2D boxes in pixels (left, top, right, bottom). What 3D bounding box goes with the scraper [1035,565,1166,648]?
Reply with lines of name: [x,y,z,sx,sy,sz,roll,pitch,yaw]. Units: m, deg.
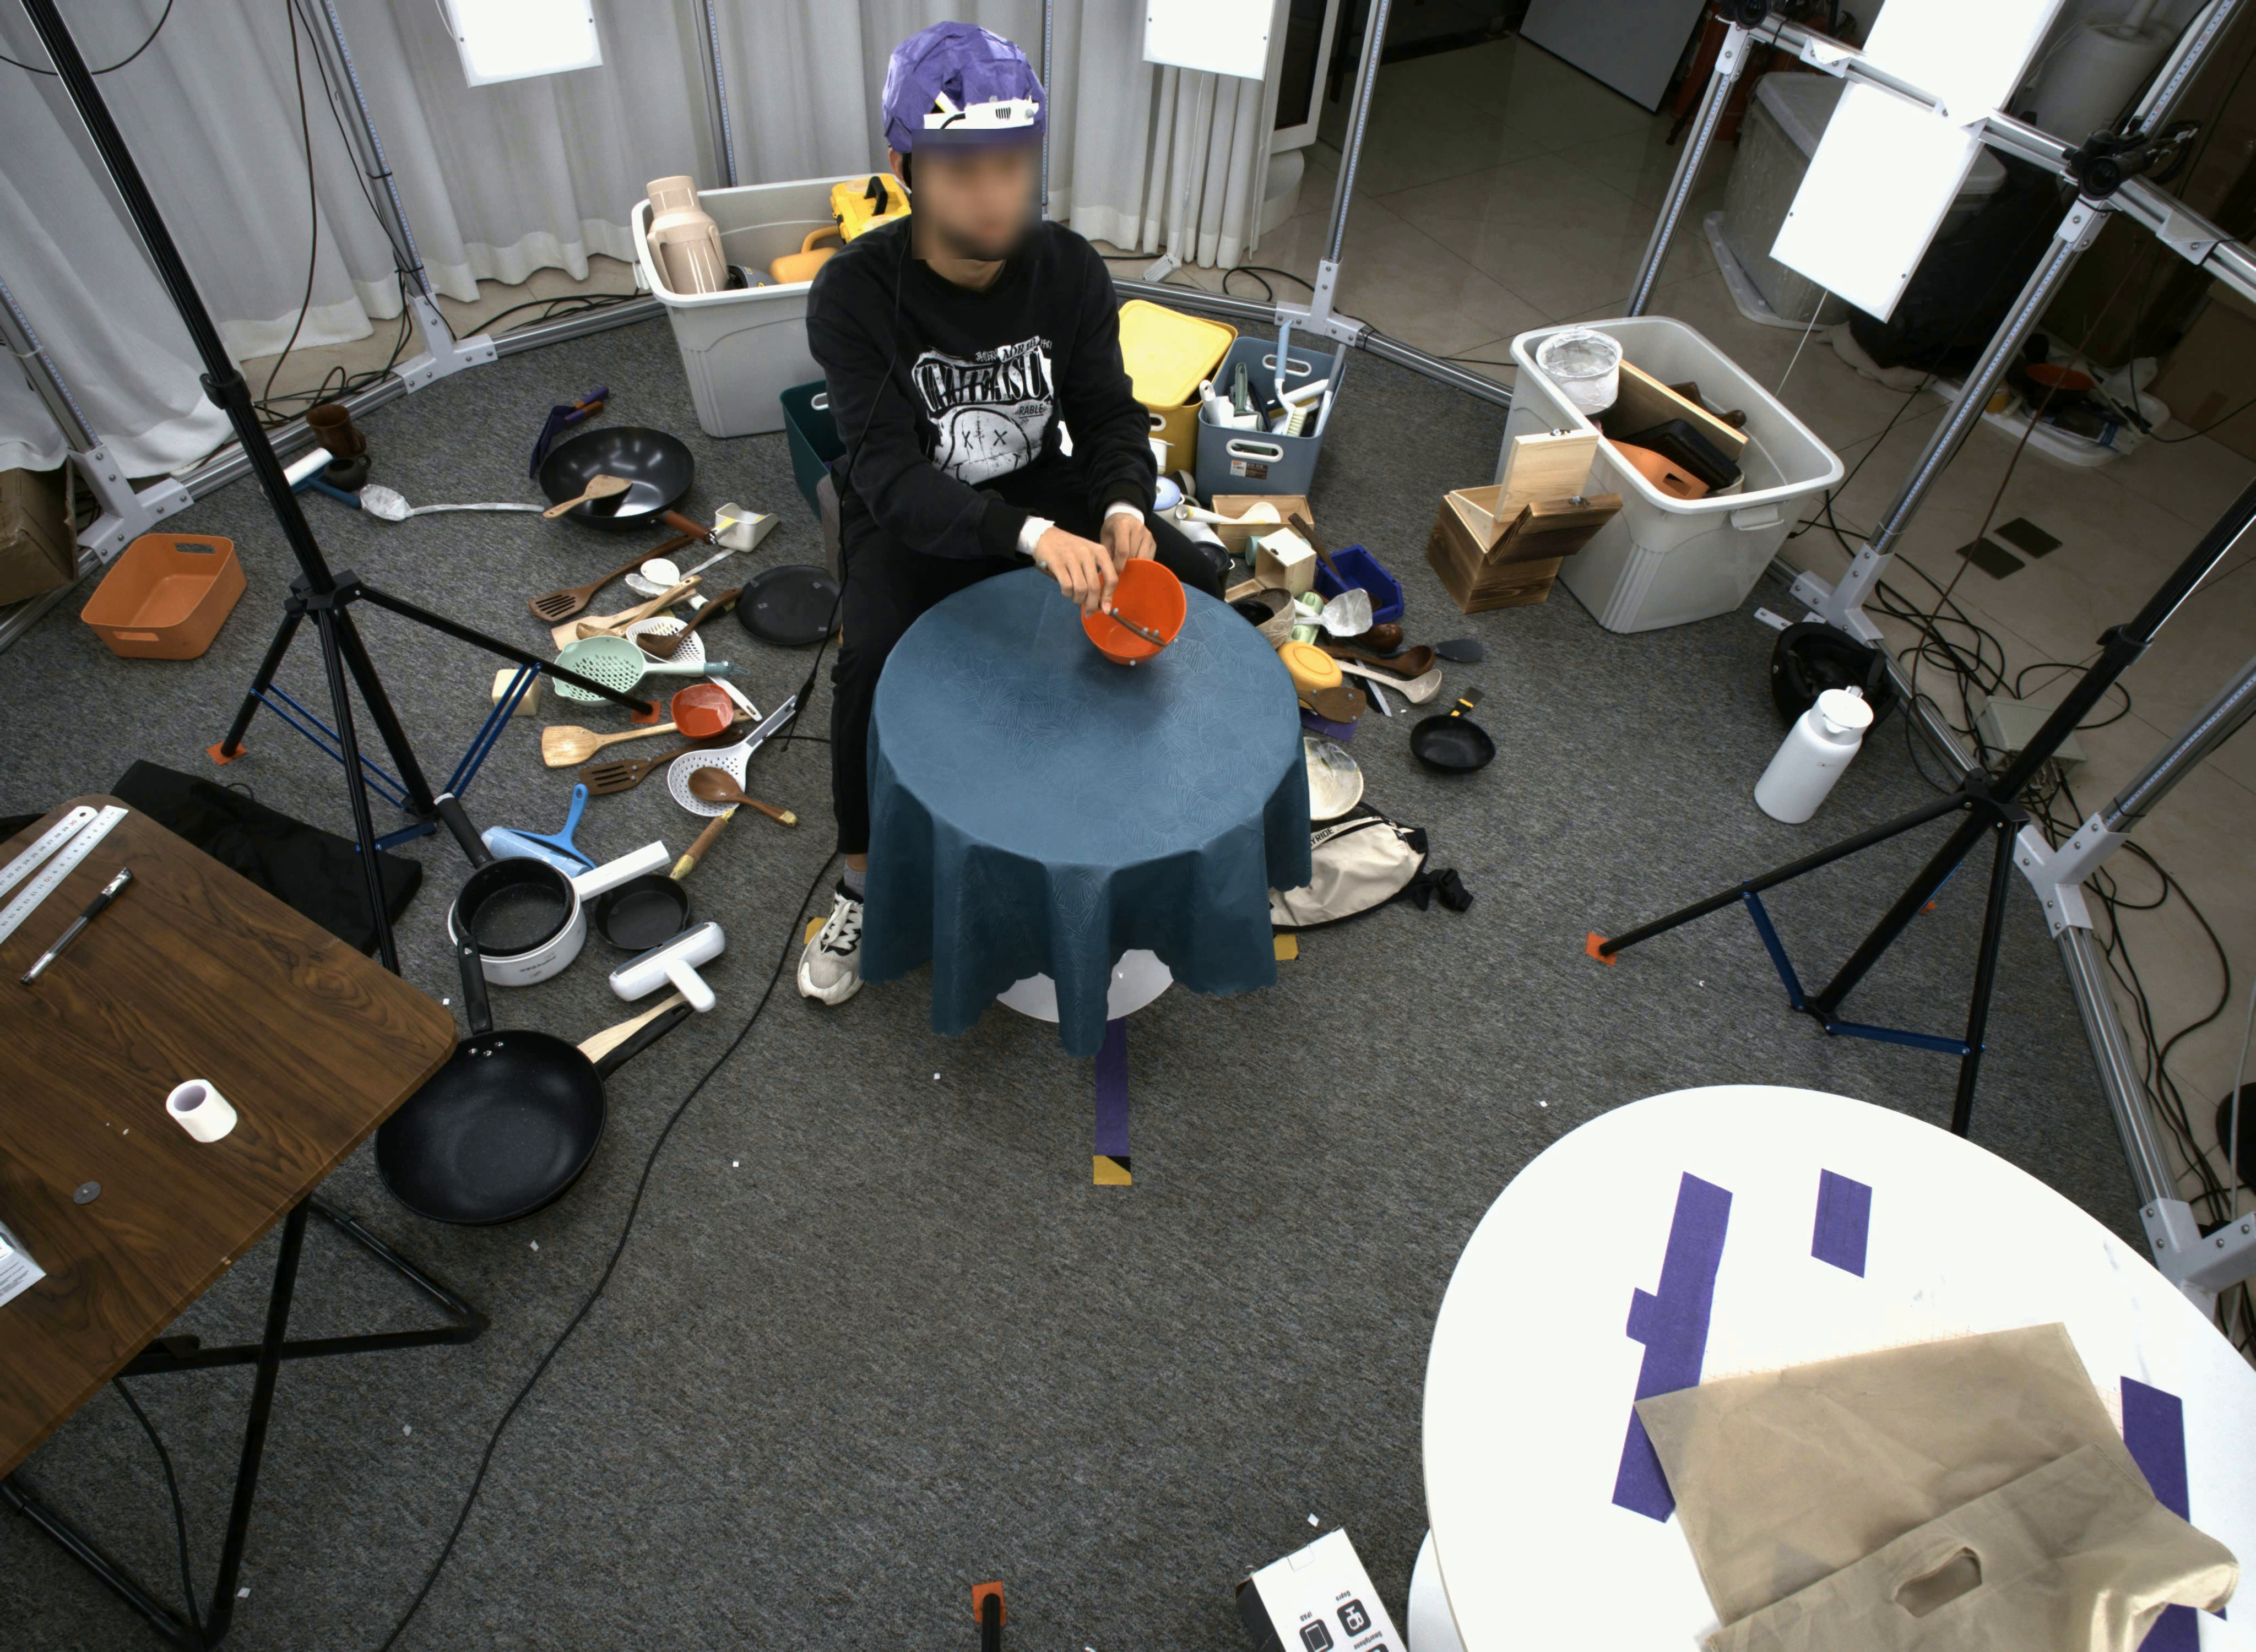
scraper: [-0.039,-0.303,1.779,0.210,0.011,0.077,30,11,-13]

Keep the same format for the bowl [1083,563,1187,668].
bowl: [0.010,-0.291,1.860,0.148,0.103,0.151,-1,68,1]
